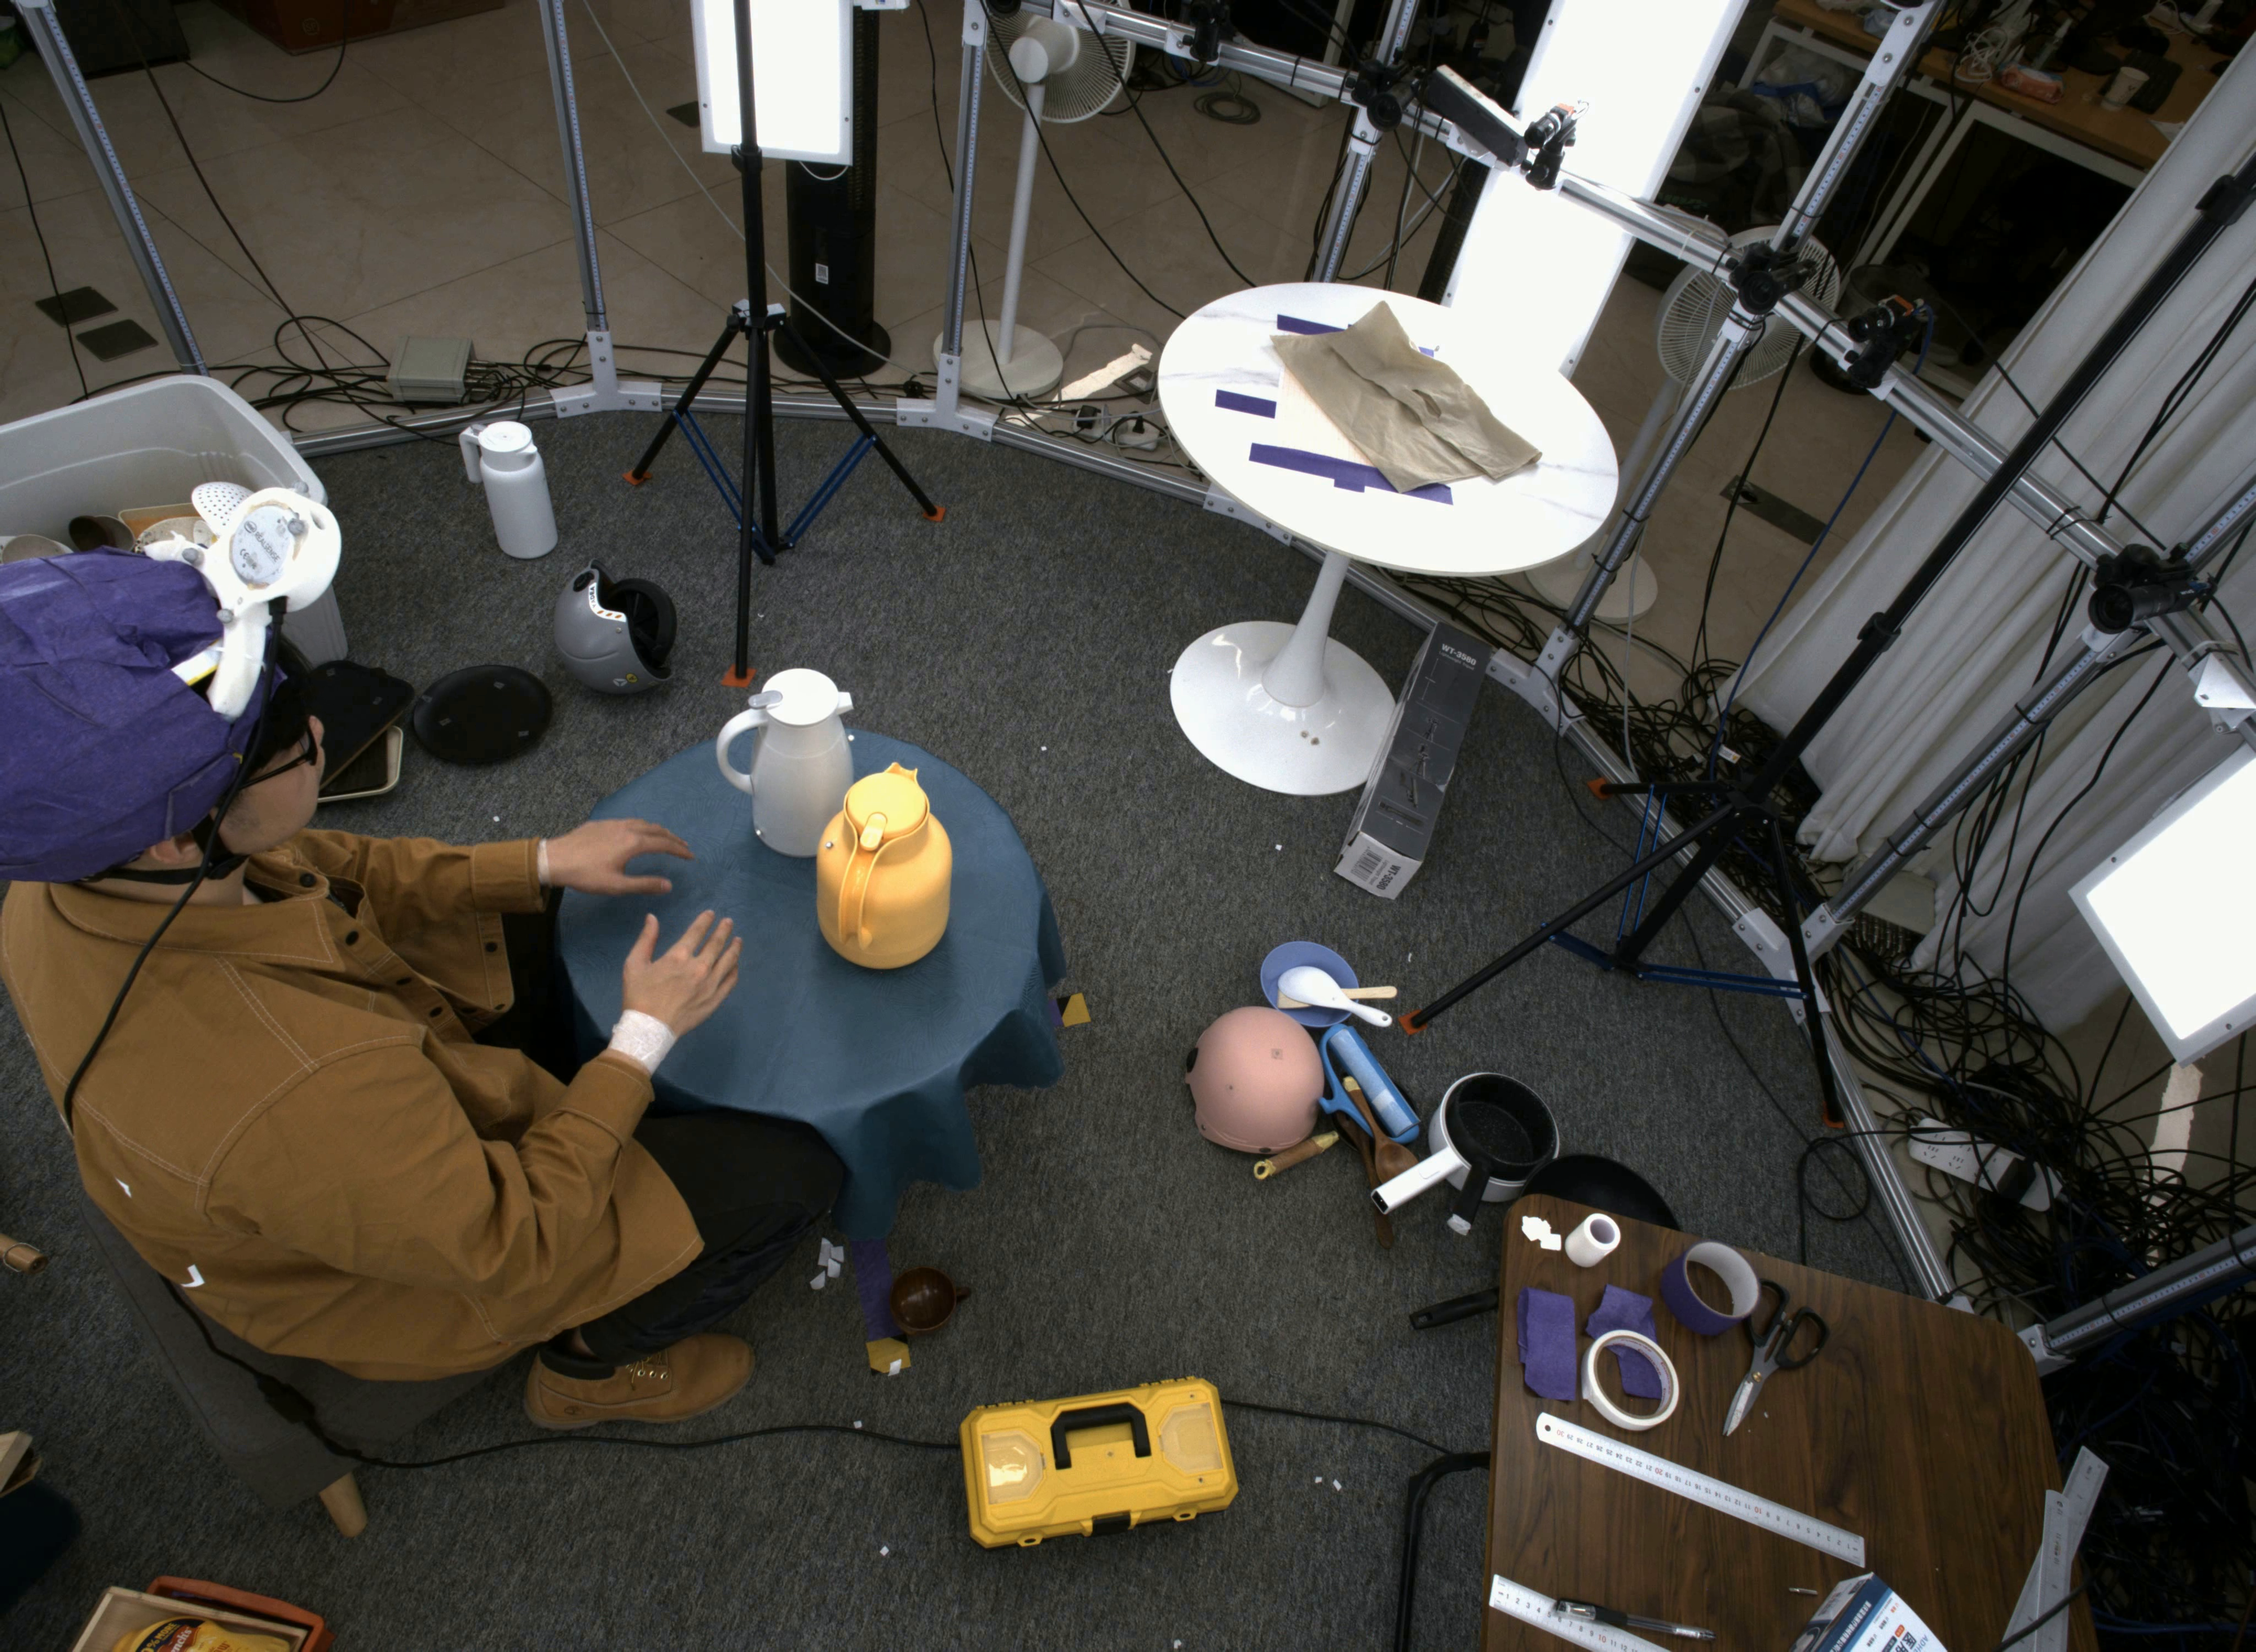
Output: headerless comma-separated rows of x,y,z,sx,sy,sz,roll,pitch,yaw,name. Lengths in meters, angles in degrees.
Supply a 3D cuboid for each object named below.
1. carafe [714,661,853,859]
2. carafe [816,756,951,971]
-0.430,-0.085,1.622,0.168,0.254,0.129,-10,55,-19,carafe
-0.298,0.057,1.543,0.161,0.267,0.200,16,50,3,carafe
